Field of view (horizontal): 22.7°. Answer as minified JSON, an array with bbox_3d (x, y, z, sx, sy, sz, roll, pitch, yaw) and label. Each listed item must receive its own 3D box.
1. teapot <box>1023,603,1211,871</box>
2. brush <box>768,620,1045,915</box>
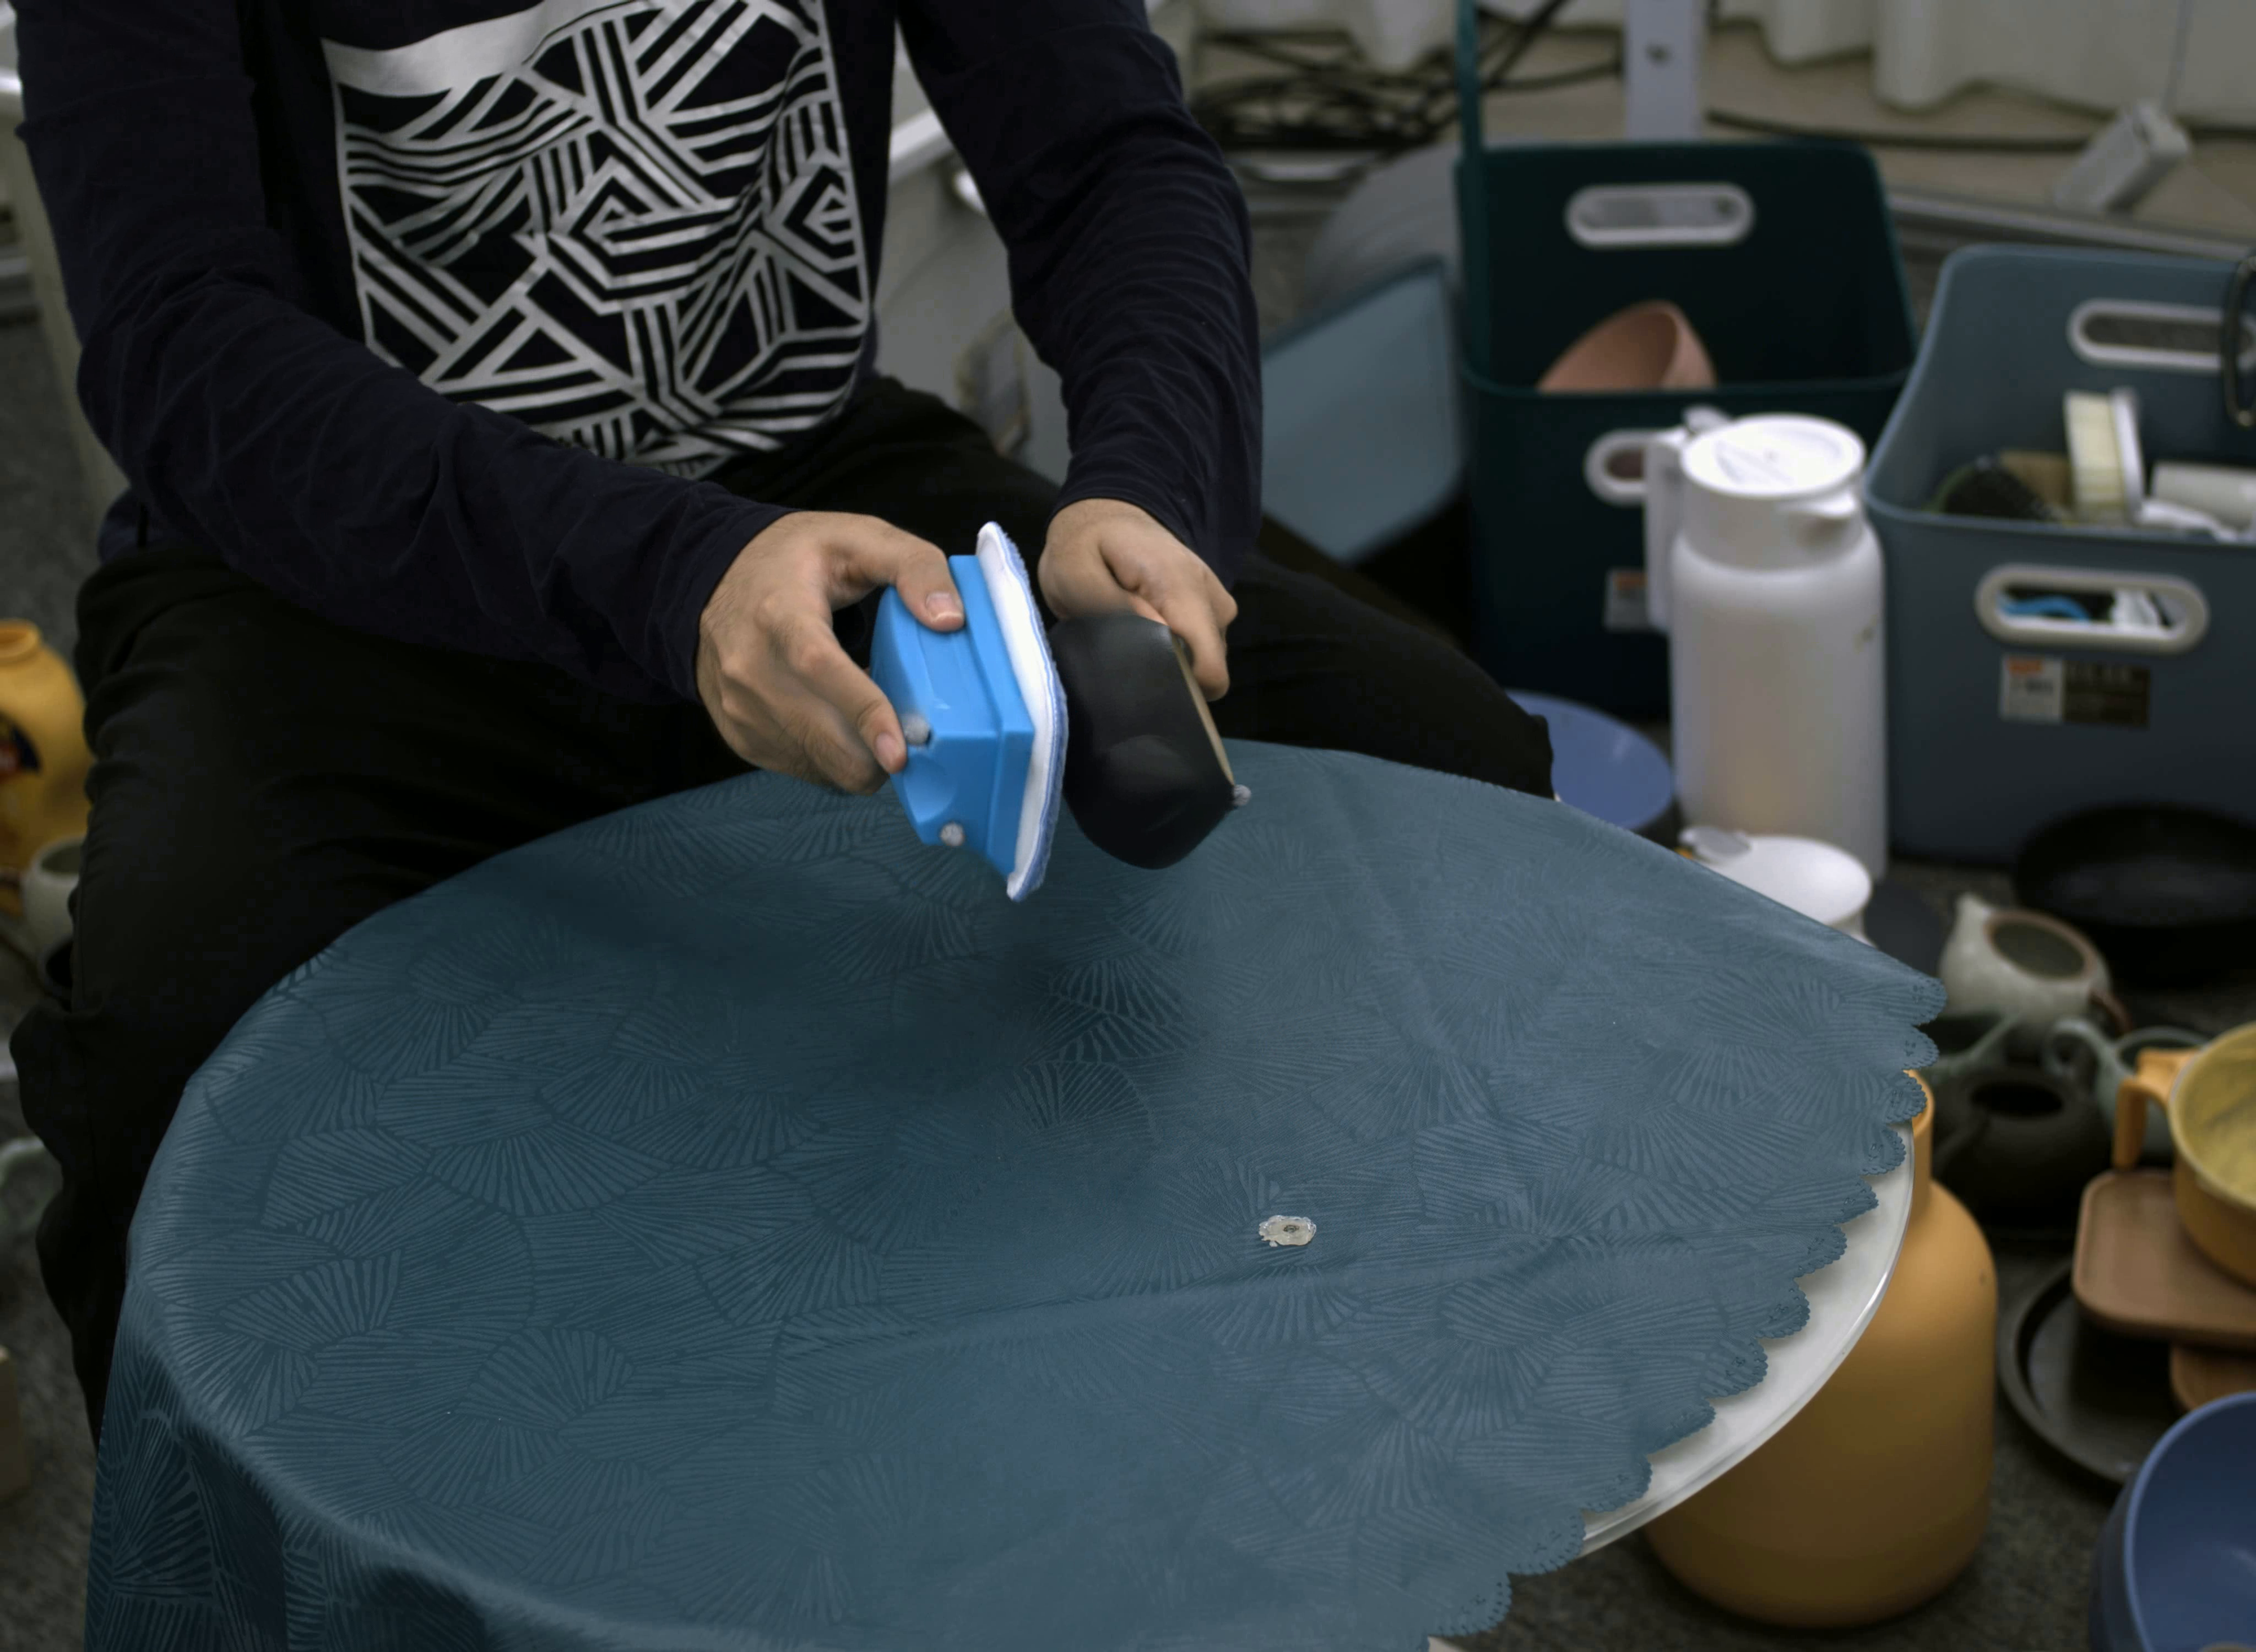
[{"bbox_3d":[-0.005,-0.031,1.884,0.053,0.090,0.134,-12,23,-1],"label":"teapot"},{"bbox_3d":[-0.079,-0.022,1.887,0.056,0.084,0.144,10,6,-28],"label":"brush"}]
